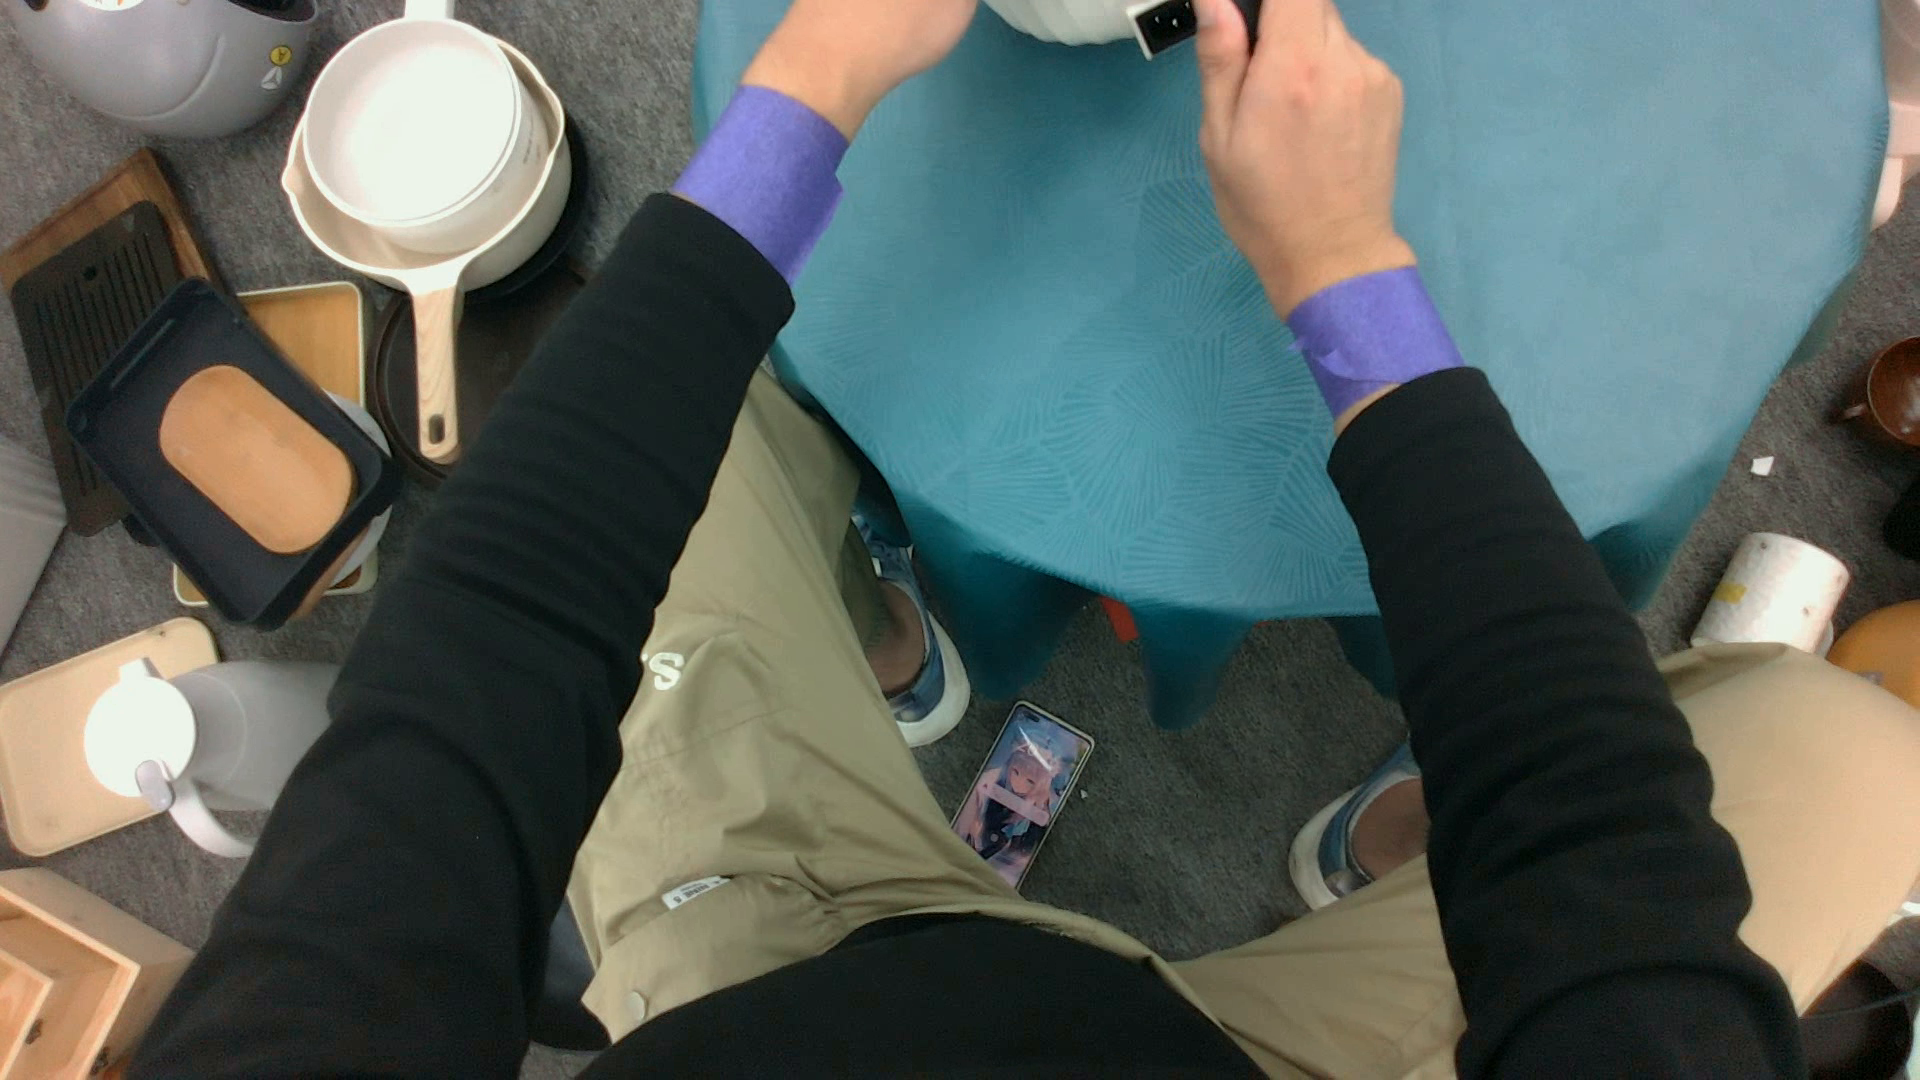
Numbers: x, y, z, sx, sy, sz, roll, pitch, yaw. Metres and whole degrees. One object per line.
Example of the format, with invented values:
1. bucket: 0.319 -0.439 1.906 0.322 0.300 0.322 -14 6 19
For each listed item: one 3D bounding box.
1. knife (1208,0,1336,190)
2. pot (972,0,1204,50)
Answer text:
1. knife: 0.100 -0.263 0.546 0.021 0.301 0.081 7 54 39
2. pot: 0.055 -0.338 0.643 0.240 0.142 0.191 -21 56 16
